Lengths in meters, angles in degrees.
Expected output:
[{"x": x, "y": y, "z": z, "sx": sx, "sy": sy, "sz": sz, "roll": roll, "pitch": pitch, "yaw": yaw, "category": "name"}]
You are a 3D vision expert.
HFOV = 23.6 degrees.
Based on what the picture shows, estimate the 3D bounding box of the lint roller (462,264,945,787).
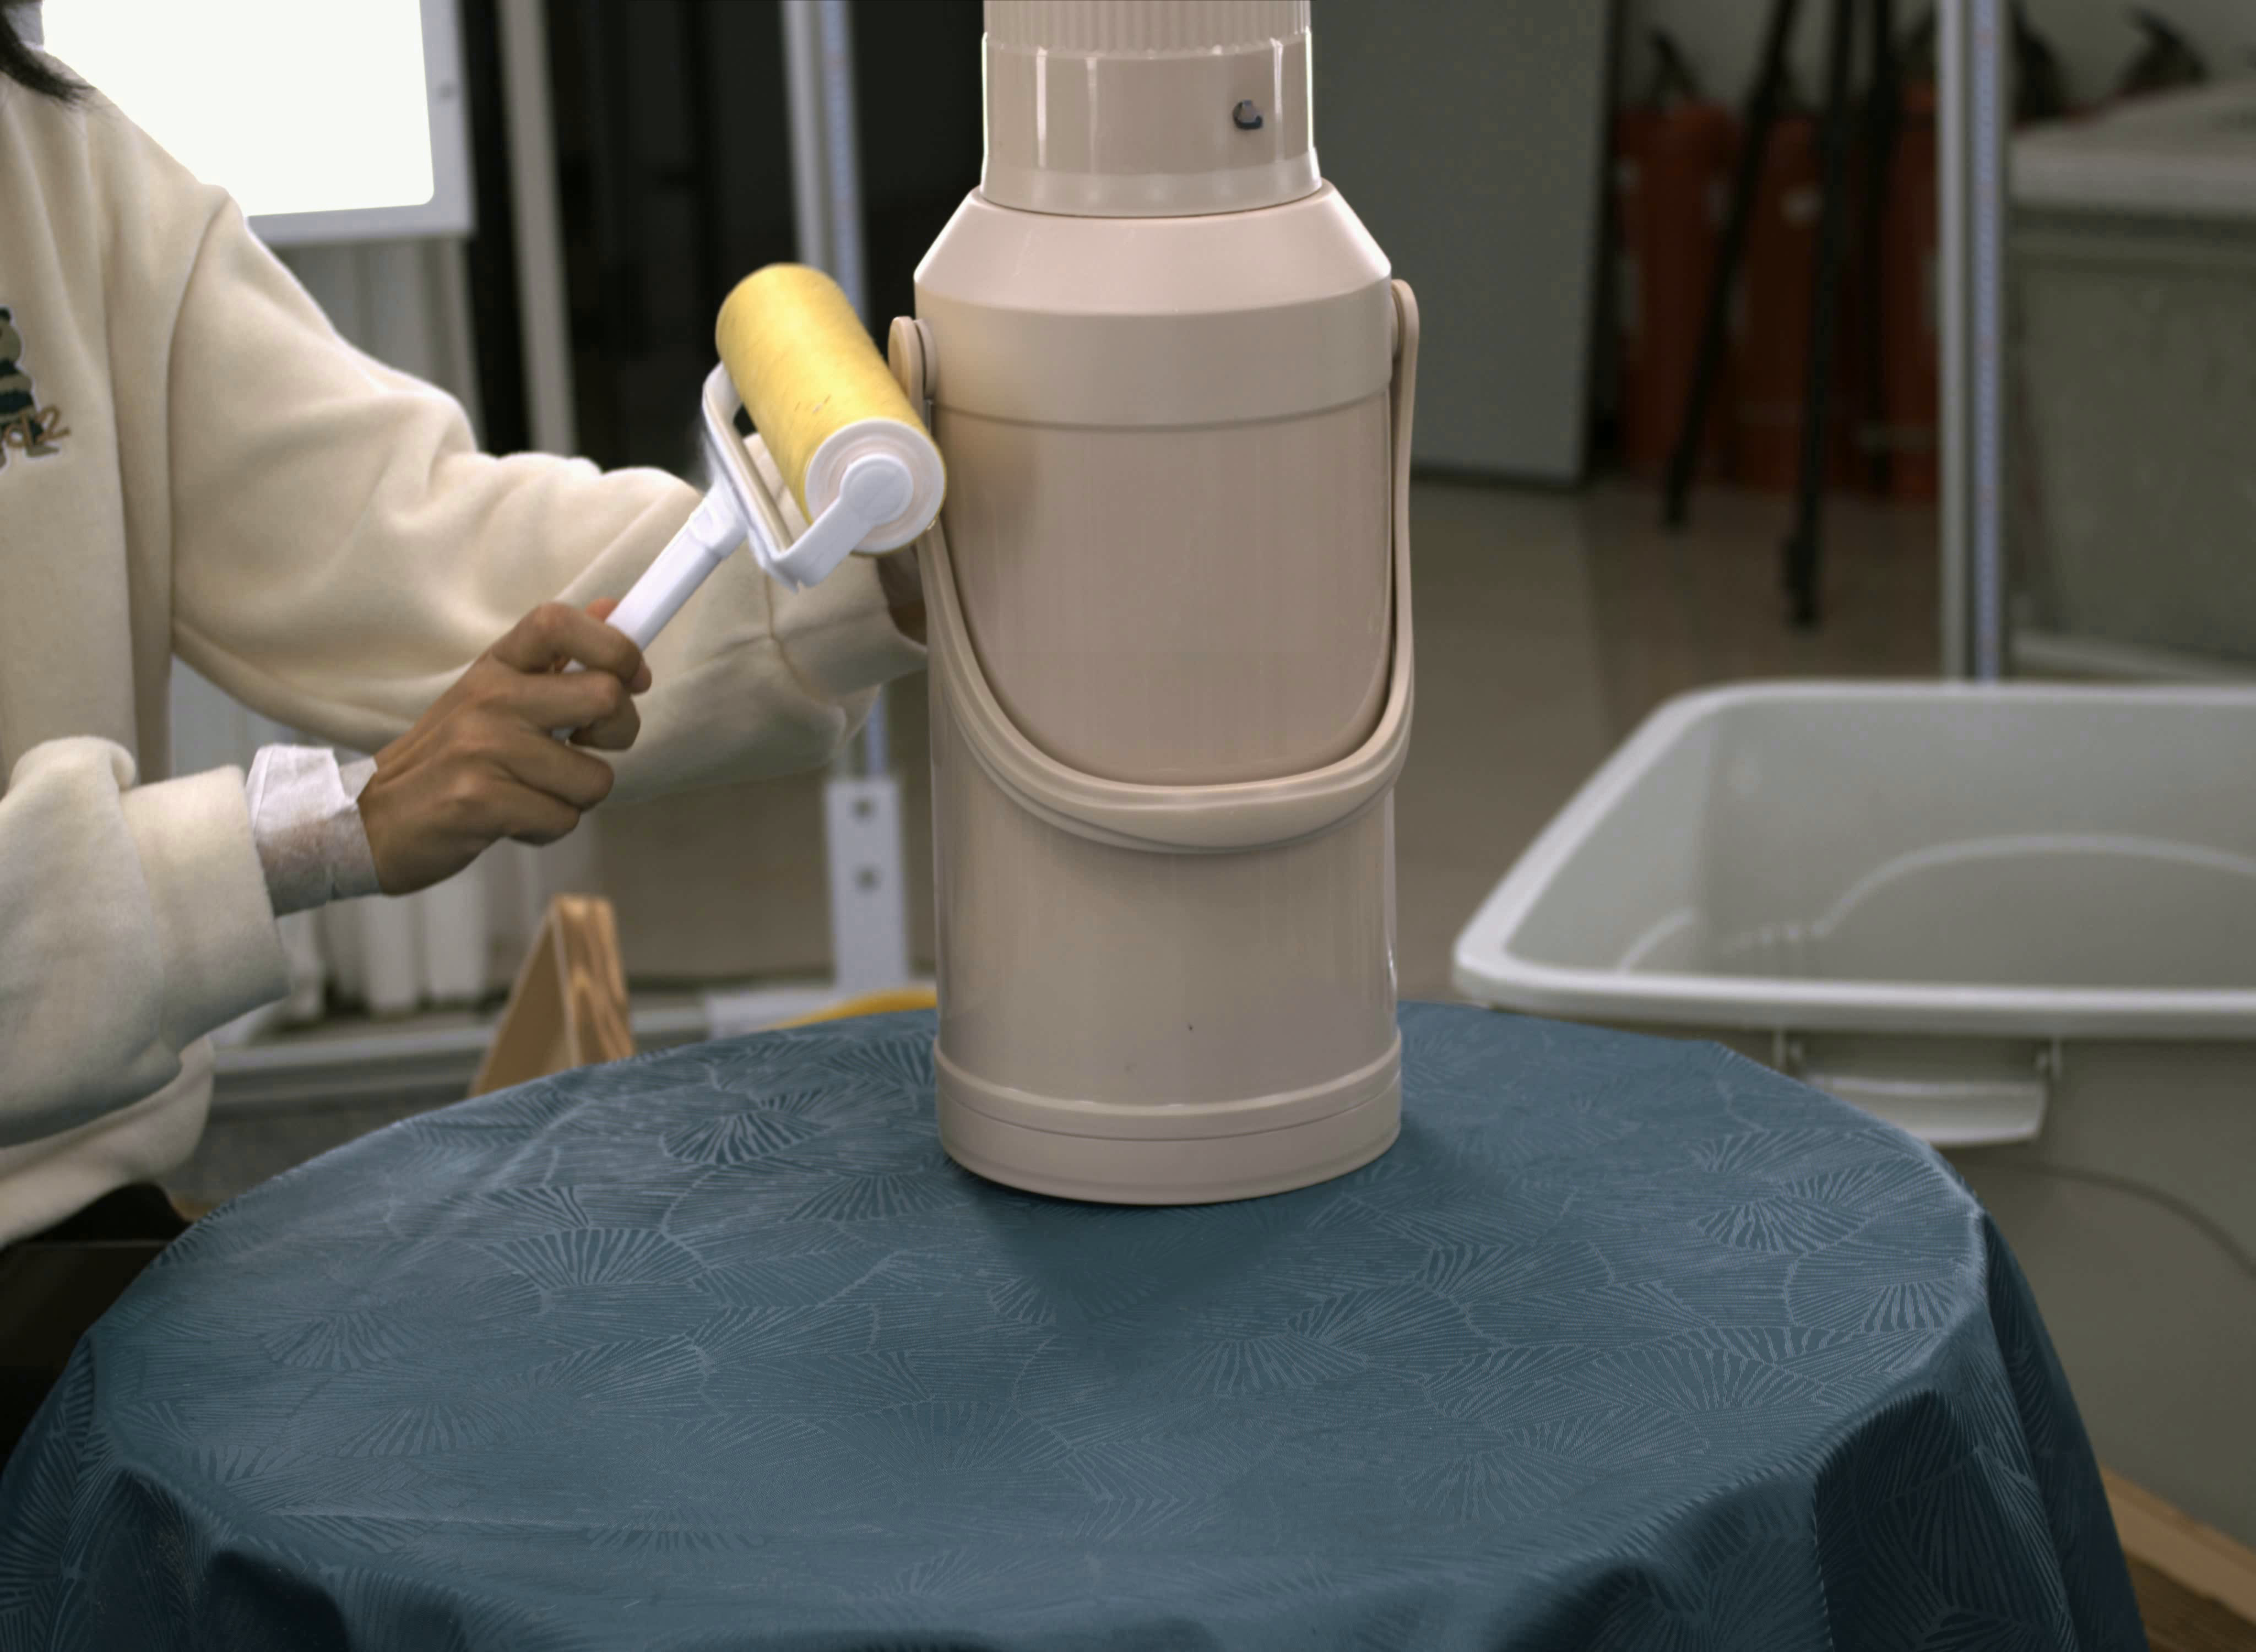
[{"x": -0.150, "y": -0.091, "z": 1.739, "sx": 0.191, "sy": 0.051, "sz": 0.175, "roll": -39, "pitch": 24, "yaw": 3, "category": "lint roller"}]

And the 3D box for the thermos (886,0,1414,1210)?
[{"x": 0.006, "y": -0.093, "z": 1.786, "sx": 0.172, "sy": 0.411, "sz": 0.209, "roll": -6, "pitch": 15, "yaw": -15, "category": "thermos"}]
